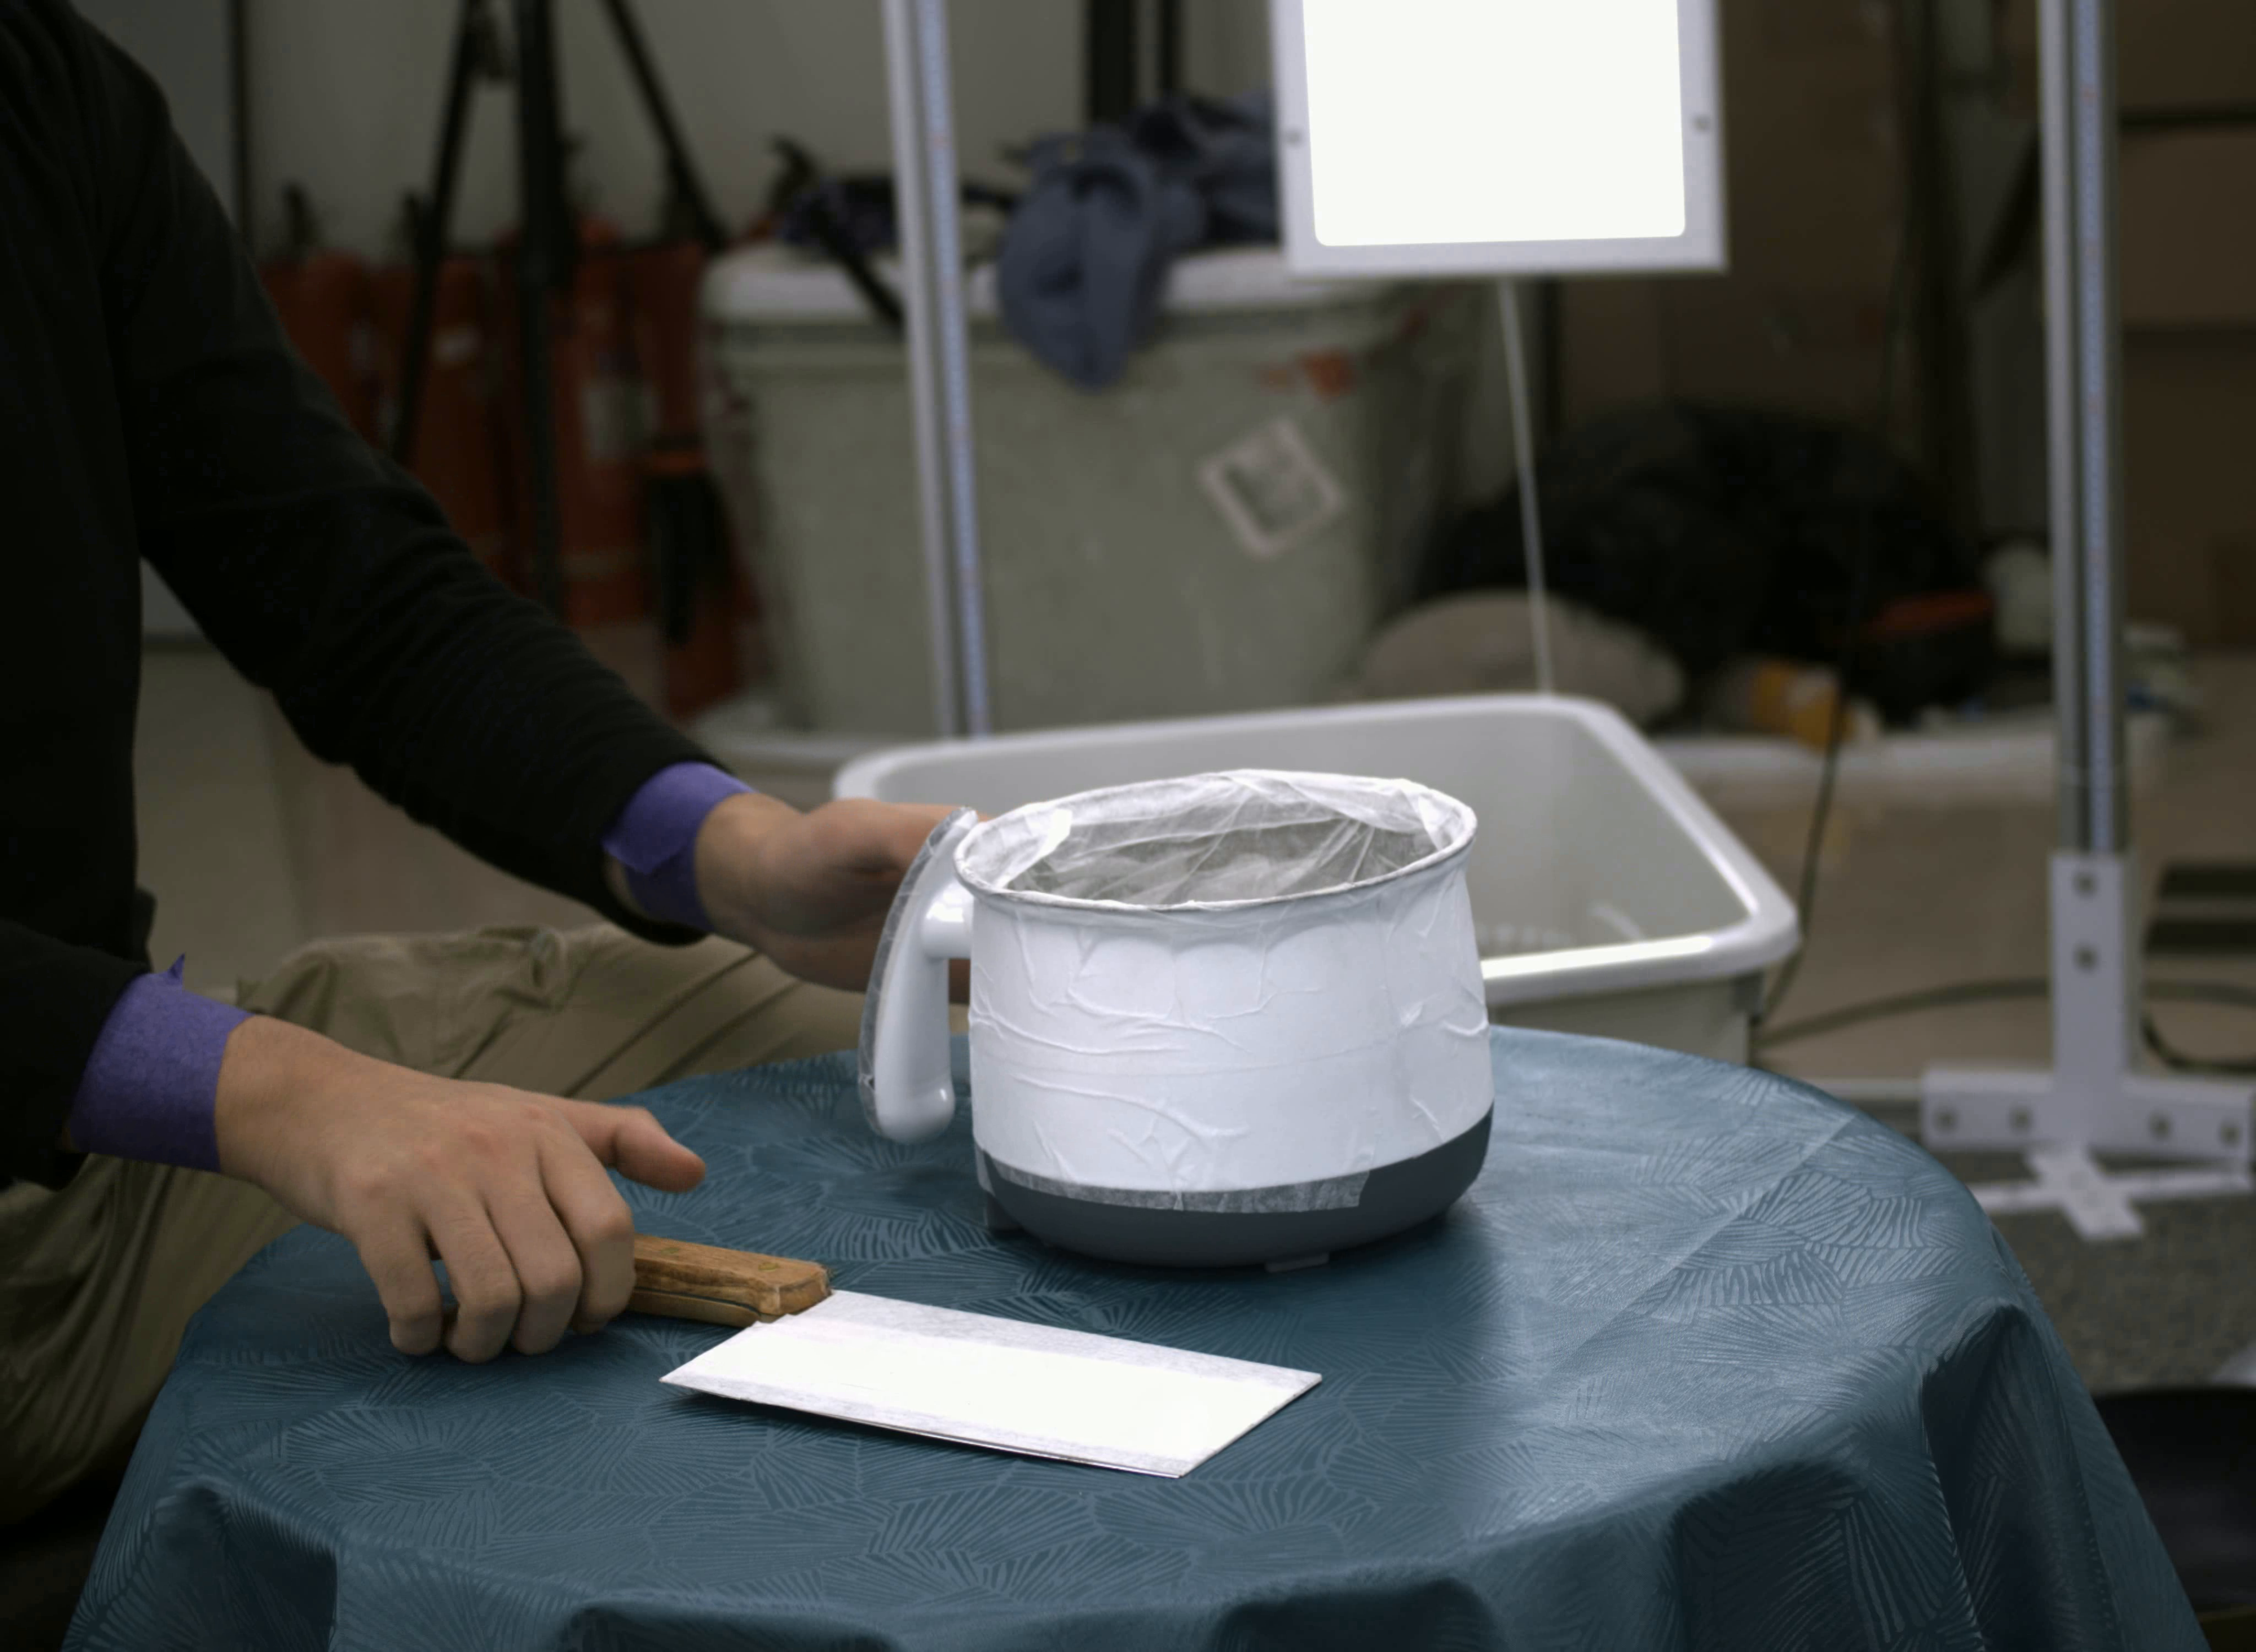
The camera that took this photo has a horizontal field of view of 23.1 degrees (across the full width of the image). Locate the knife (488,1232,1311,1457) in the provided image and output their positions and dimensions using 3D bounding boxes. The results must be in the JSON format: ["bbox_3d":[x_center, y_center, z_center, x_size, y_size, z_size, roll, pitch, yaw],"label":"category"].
[{"bbox_3d":[-0.091,0.166,1.743,0.312,0.021,0.091,6,17,33],"label":"knife"}]

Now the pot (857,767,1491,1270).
[{"bbox_3d":[0.009,0.062,1.865,0.238,0.137,0.174,4,16,30],"label":"pot"}]
